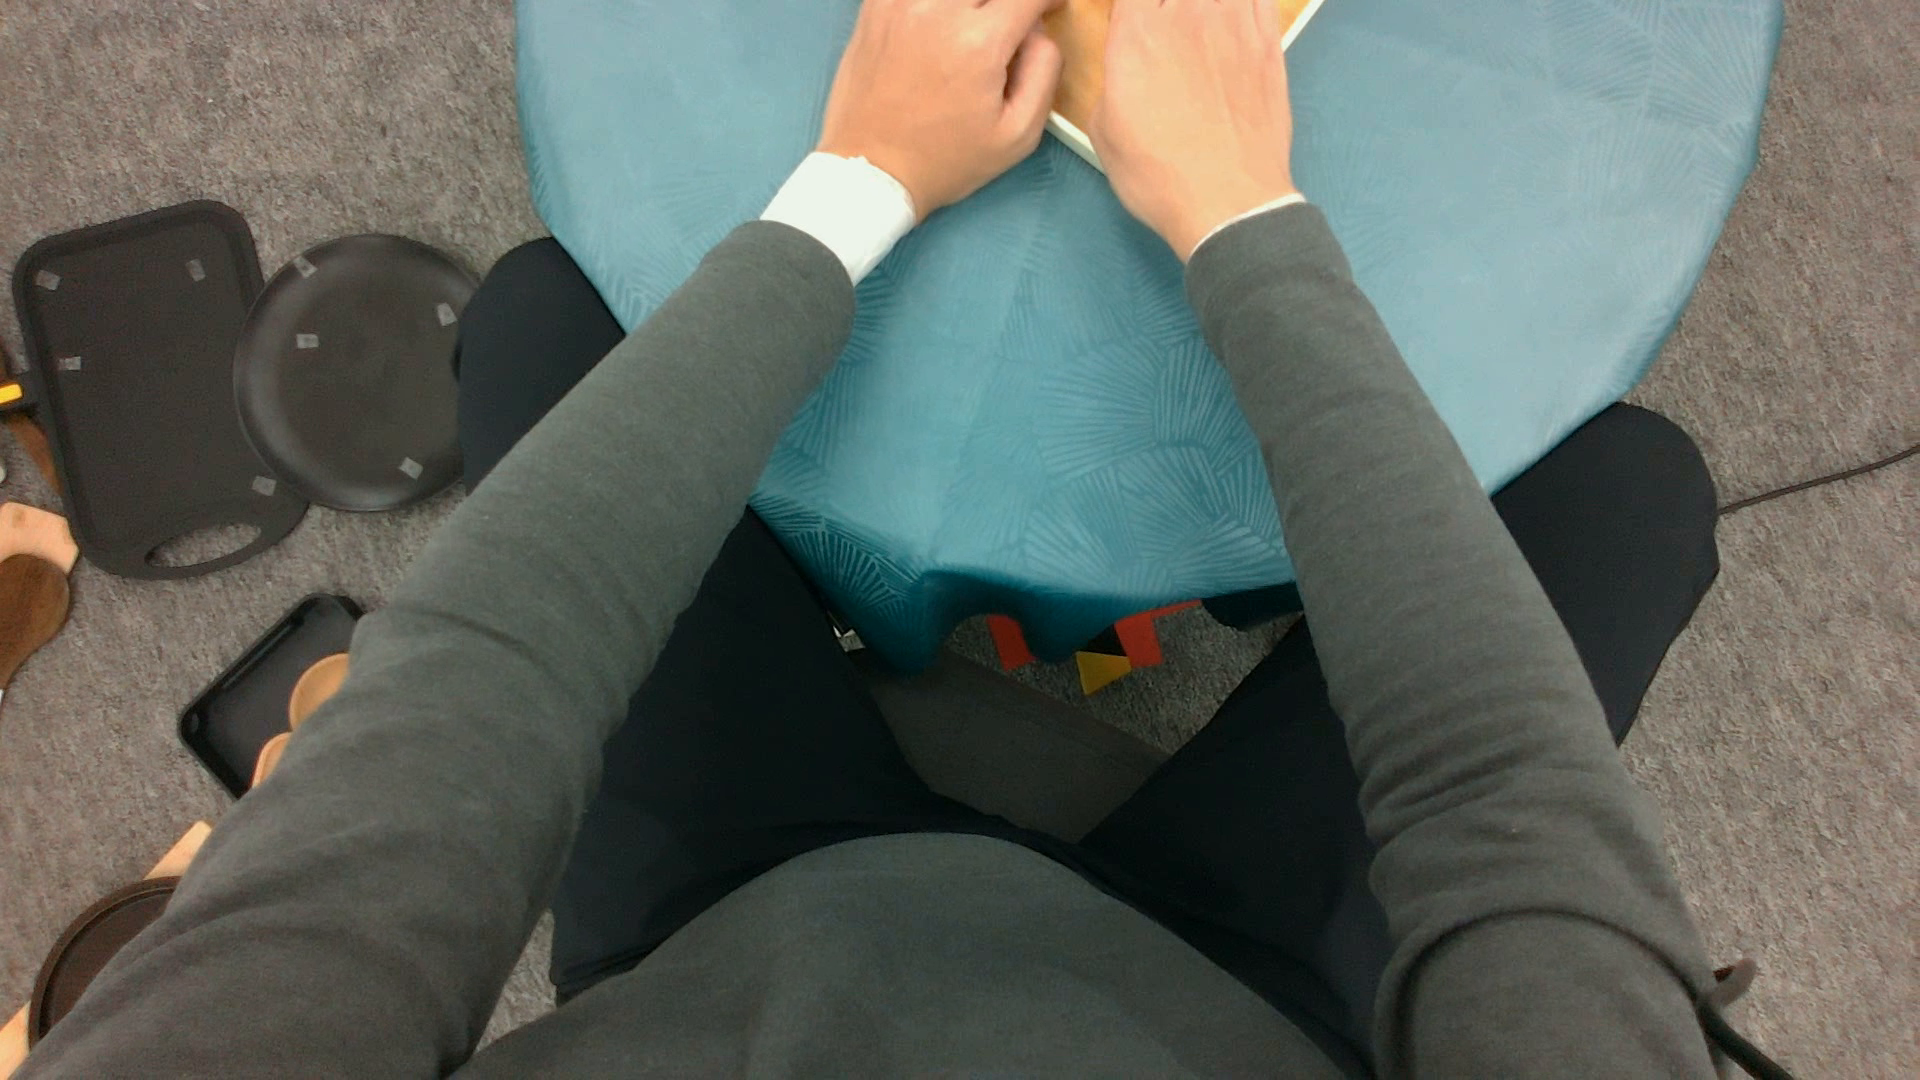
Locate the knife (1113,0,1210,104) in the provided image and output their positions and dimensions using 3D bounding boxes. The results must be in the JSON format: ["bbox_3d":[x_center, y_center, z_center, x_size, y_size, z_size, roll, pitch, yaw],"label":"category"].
[{"bbox_3d":[0.043,-0.297,0.617,0.016,0.024,0.238,-33,88,3],"label":"knife"}]

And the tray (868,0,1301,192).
[{"bbox_3d":[0.024,-0.322,0.644,0.300,0.027,0.191,38,91,1],"label":"tray"}]
